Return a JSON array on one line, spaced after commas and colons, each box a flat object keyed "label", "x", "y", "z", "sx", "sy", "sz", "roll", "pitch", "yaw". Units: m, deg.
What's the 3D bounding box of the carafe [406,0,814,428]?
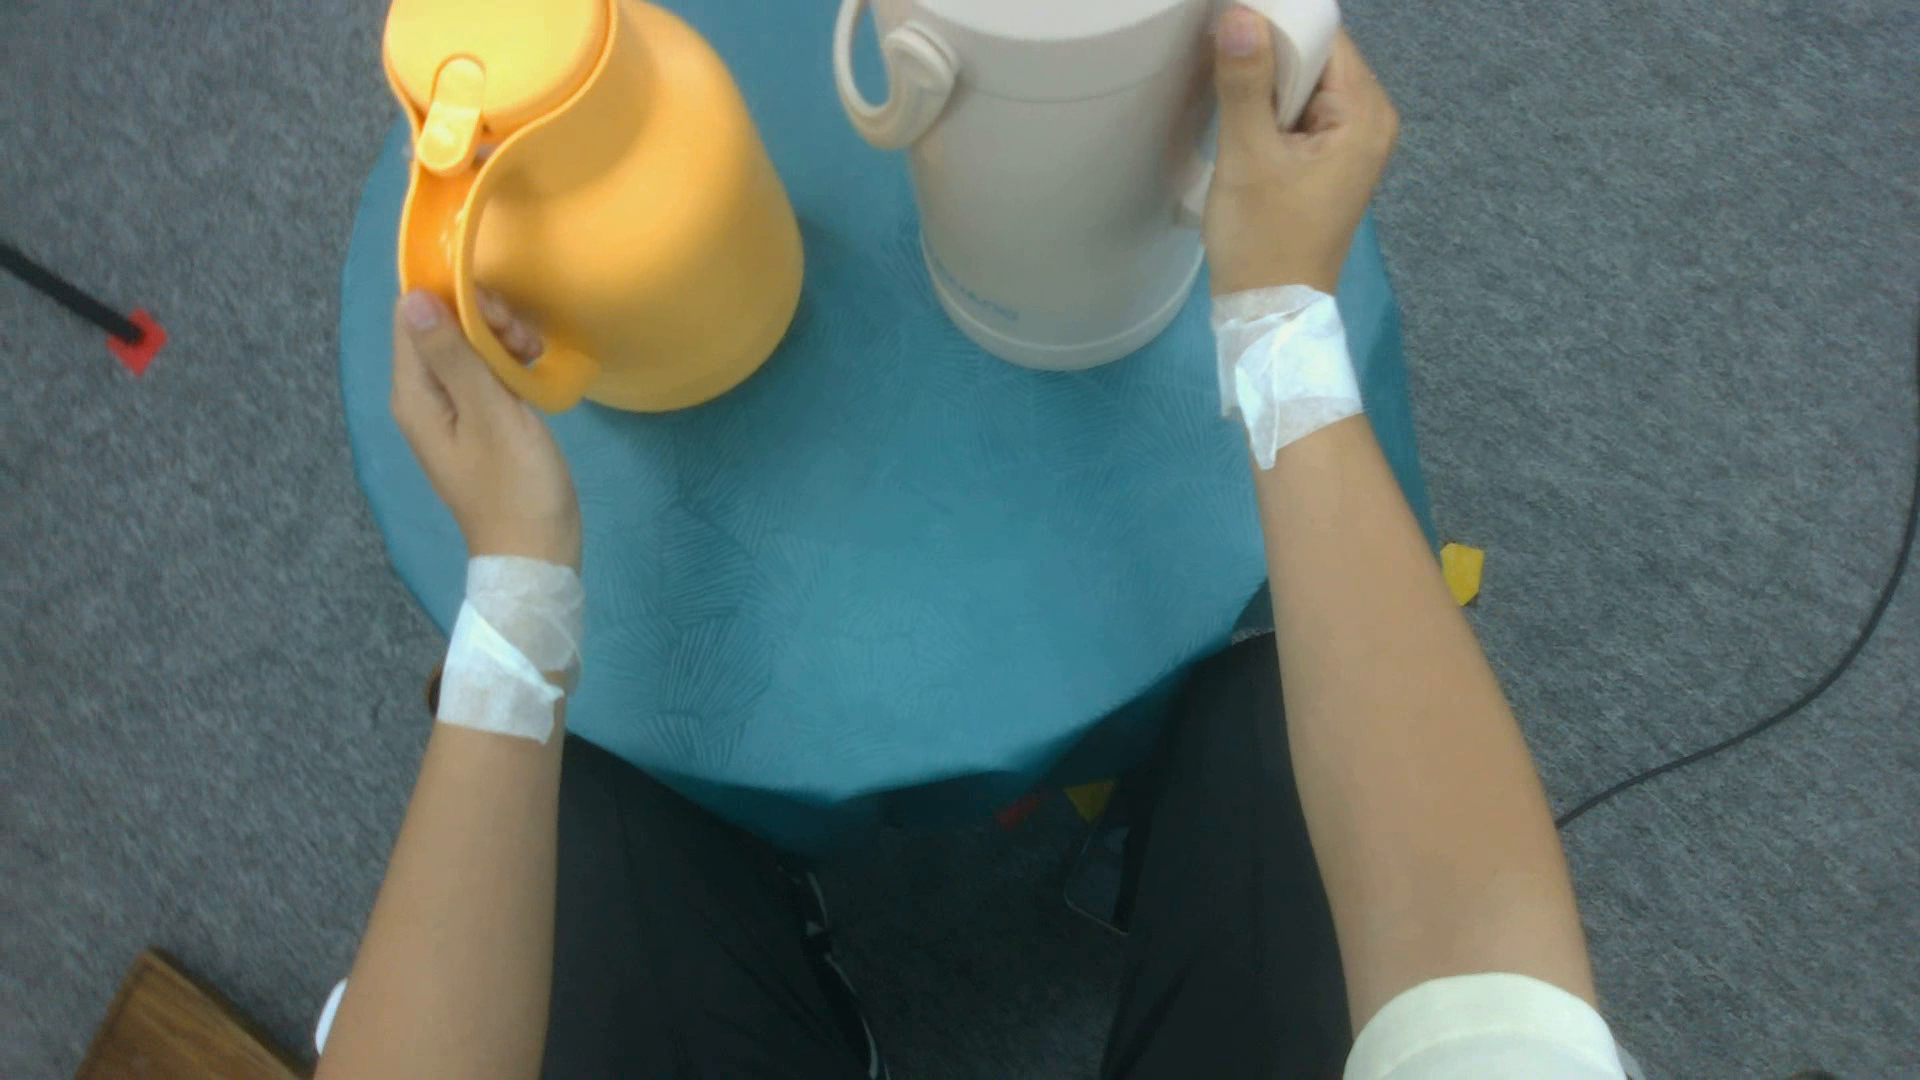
[{"label": "carafe", "x": -0.181, "y": -0.151, "z": 0.685, "sx": 0.163, "sy": 0.260, "sz": 0.203, "roll": 12, "pitch": 75, "yaw": 12}]

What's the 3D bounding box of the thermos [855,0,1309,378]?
[{"label": "thermos", "x": 0.050, "y": -0.209, "z": 0.607, "sx": 0.207, "sy": 0.405, "sz": 0.175, "roll": 35, "pitch": 80, "yaw": 14}]
